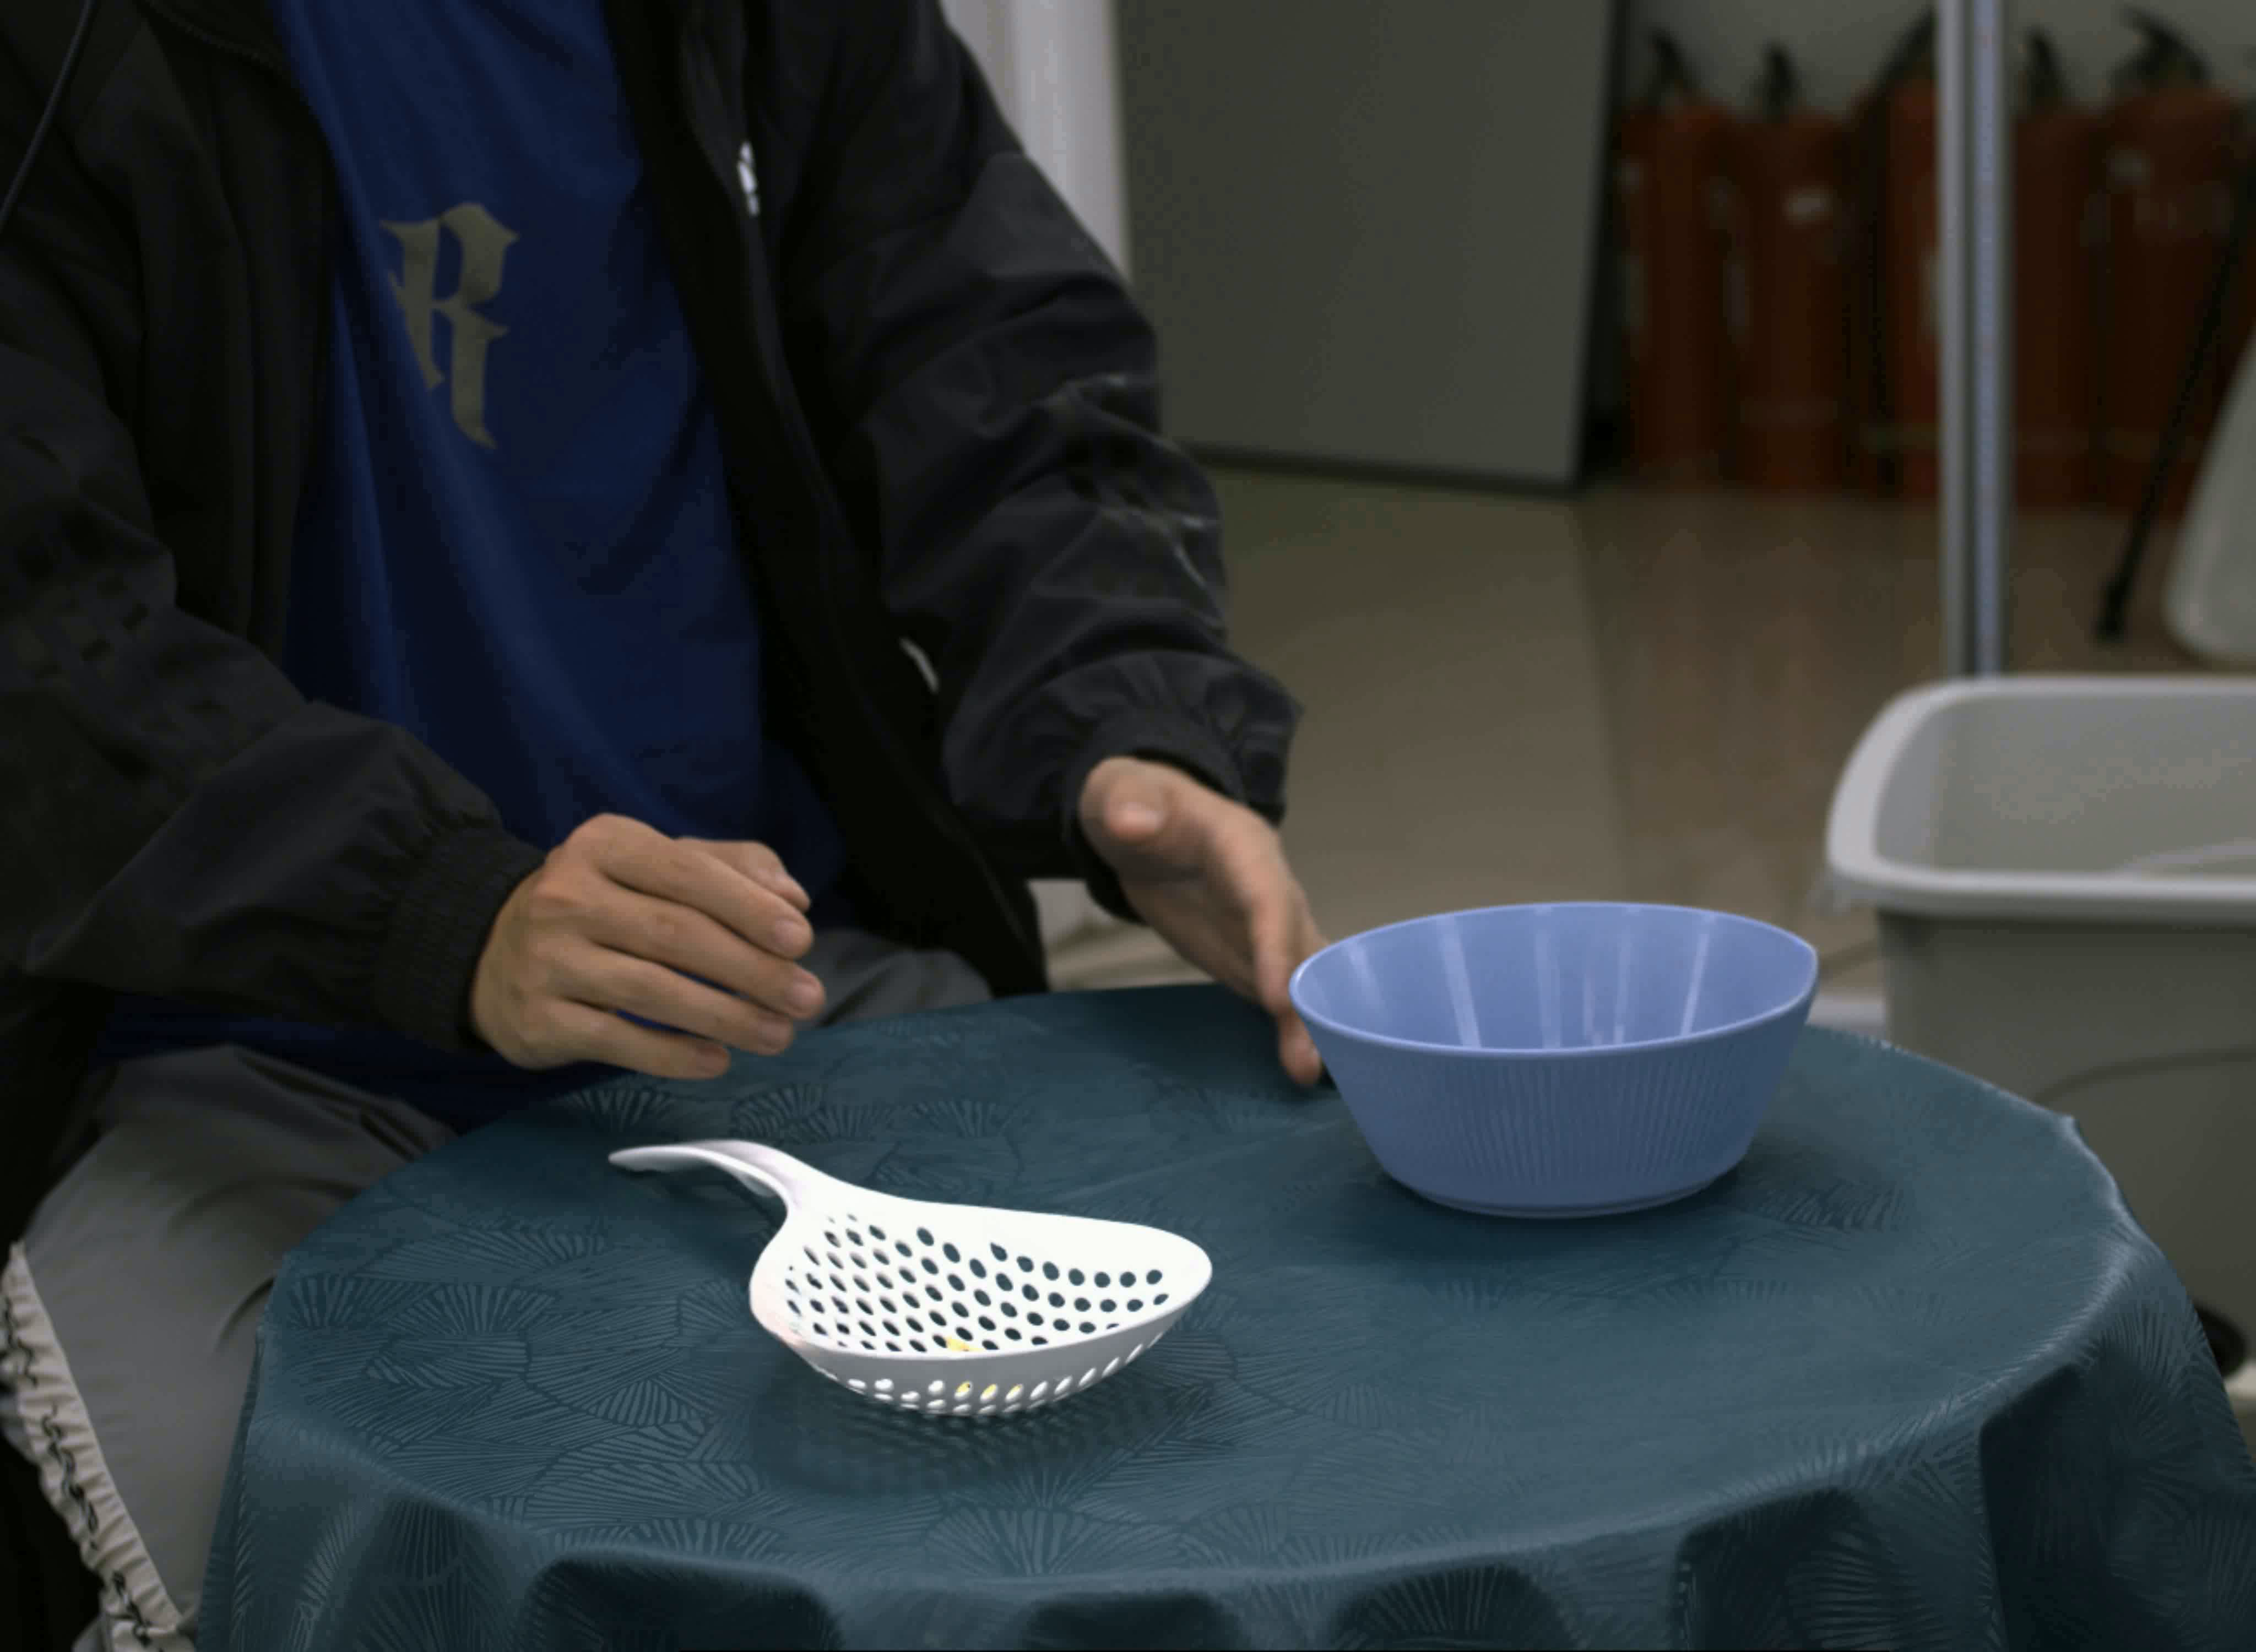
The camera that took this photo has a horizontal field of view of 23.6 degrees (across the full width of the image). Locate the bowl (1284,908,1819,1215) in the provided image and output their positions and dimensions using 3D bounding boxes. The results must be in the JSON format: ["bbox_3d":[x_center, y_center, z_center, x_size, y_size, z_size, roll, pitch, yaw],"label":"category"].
[{"bbox_3d":[0.139,0.079,1.757,0.174,0.071,0.176,-4,13,0],"label":"bowl"}]

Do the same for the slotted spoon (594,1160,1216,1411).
[{"bbox_3d":[-0.090,0.129,1.677,0.134,0.051,0.351,-14,16,-25],"label":"slotted spoon"}]
